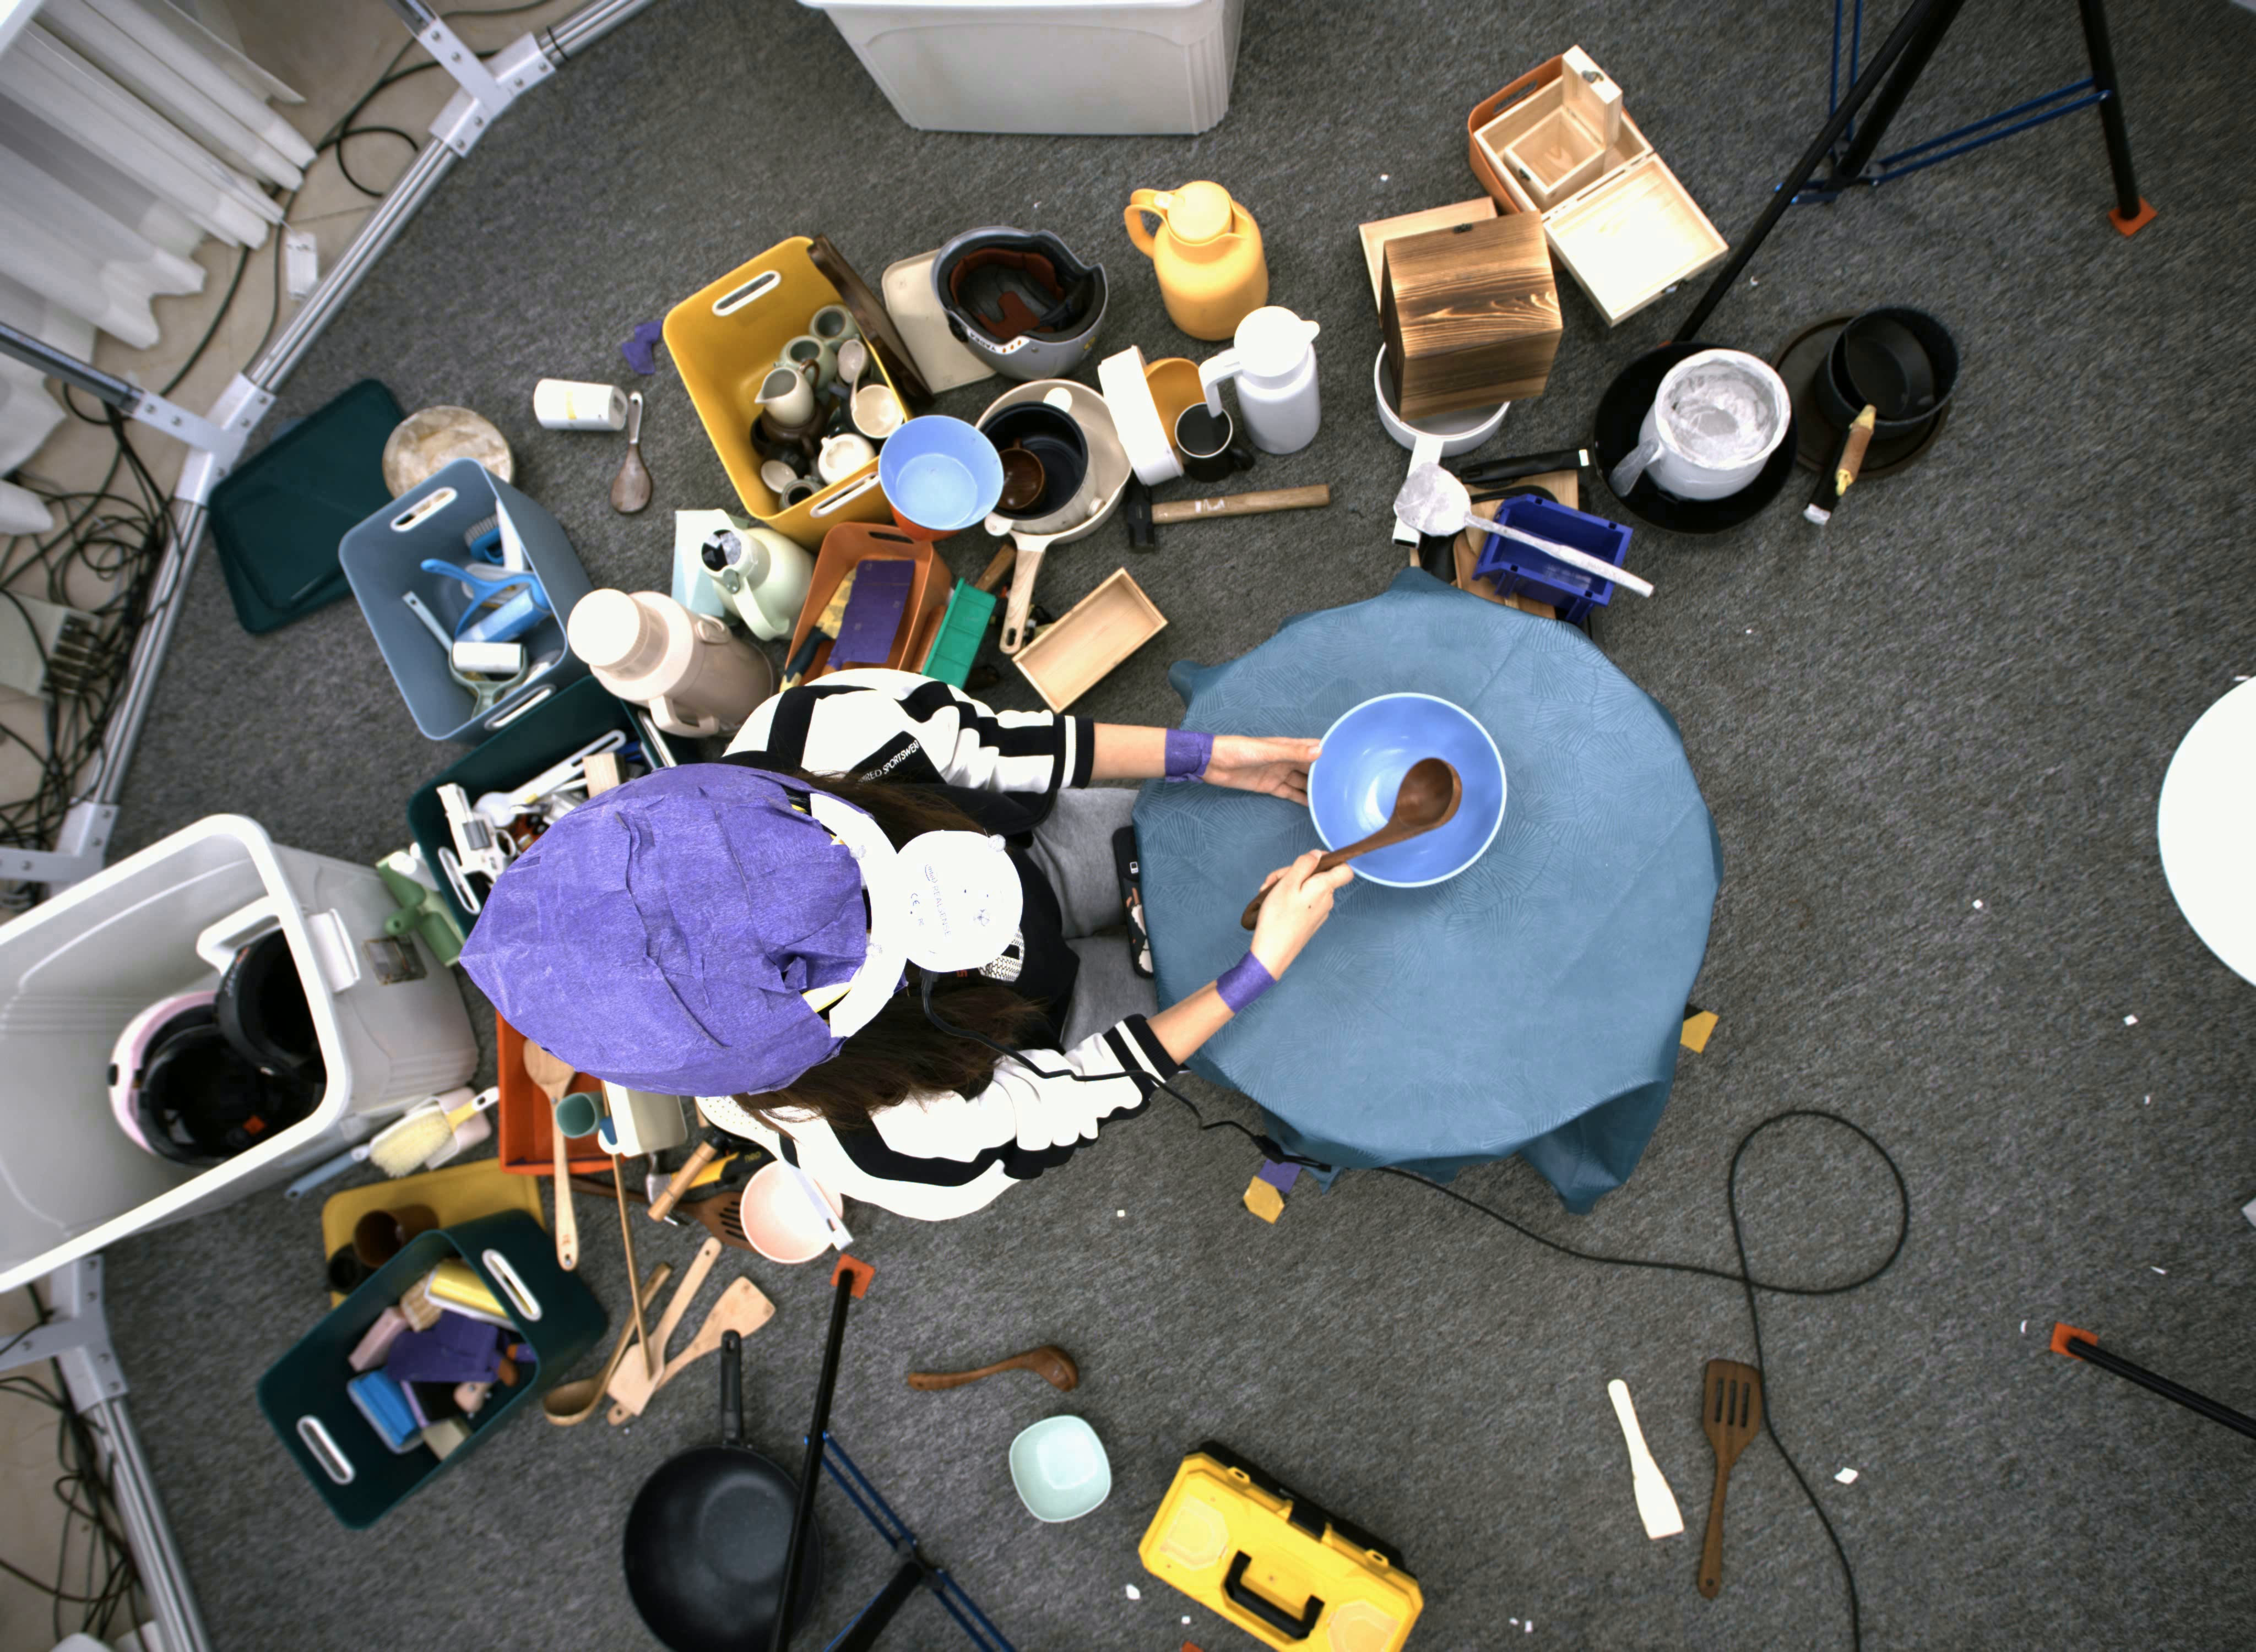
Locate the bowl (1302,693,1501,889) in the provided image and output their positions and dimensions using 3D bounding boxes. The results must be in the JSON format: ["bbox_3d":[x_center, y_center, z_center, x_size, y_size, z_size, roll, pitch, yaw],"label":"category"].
[{"bbox_3d":[0.277,-0.035,1.417,0.197,0.095,0.196,0,91,6],"label":"bowl"}]

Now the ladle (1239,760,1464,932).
[{"bbox_3d":[0.216,0.018,1.357,0.259,0.075,0.066,-28,124,-6],"label":"ladle"}]
